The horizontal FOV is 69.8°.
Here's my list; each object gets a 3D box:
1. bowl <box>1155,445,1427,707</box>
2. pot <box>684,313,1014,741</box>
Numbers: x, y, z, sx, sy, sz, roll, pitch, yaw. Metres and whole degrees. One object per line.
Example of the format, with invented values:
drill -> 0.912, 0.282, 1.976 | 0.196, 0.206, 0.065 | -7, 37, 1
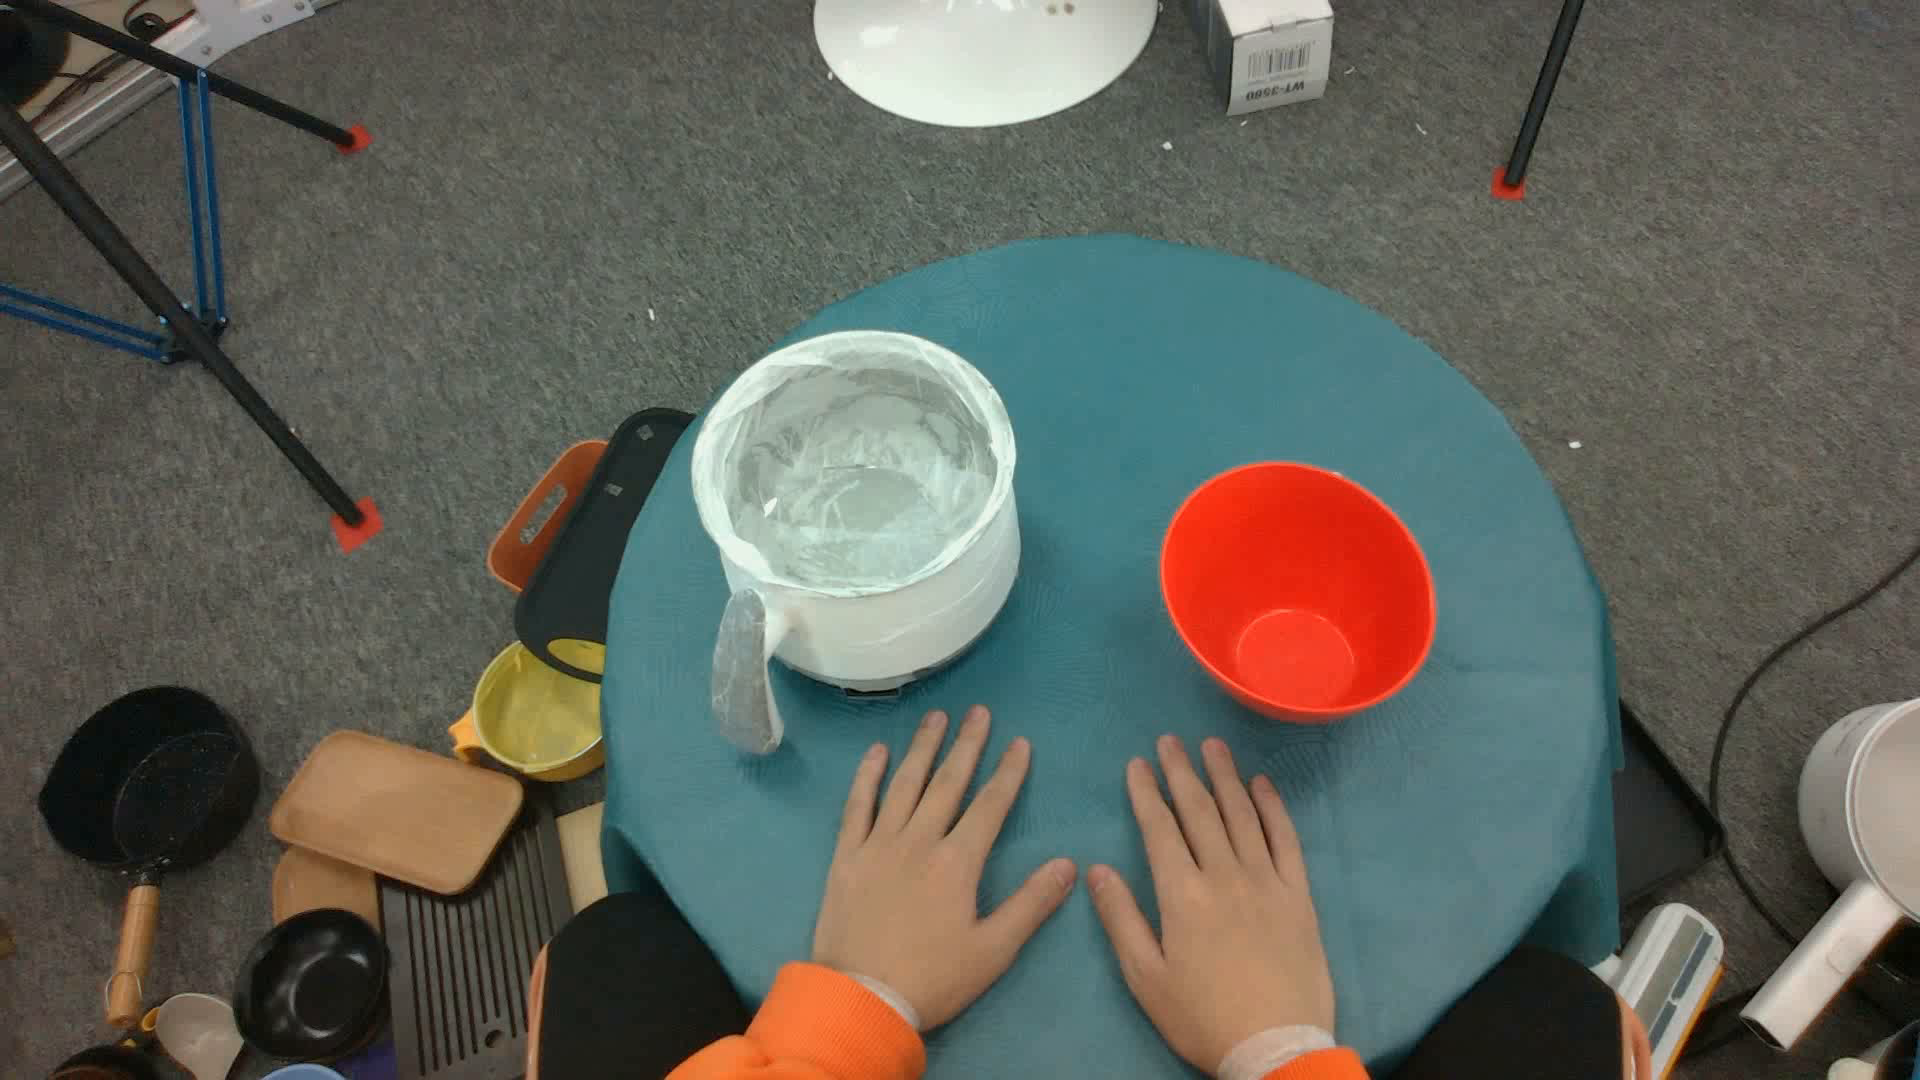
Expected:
bowl -> 0.180, 0.034, 0.773 | 0.148, 0.104, 0.148 | -1, 60, 2
pot -> -0.071, 0.000, 0.787 | 0.178, 0.136, 0.234 | 22, 63, 17
